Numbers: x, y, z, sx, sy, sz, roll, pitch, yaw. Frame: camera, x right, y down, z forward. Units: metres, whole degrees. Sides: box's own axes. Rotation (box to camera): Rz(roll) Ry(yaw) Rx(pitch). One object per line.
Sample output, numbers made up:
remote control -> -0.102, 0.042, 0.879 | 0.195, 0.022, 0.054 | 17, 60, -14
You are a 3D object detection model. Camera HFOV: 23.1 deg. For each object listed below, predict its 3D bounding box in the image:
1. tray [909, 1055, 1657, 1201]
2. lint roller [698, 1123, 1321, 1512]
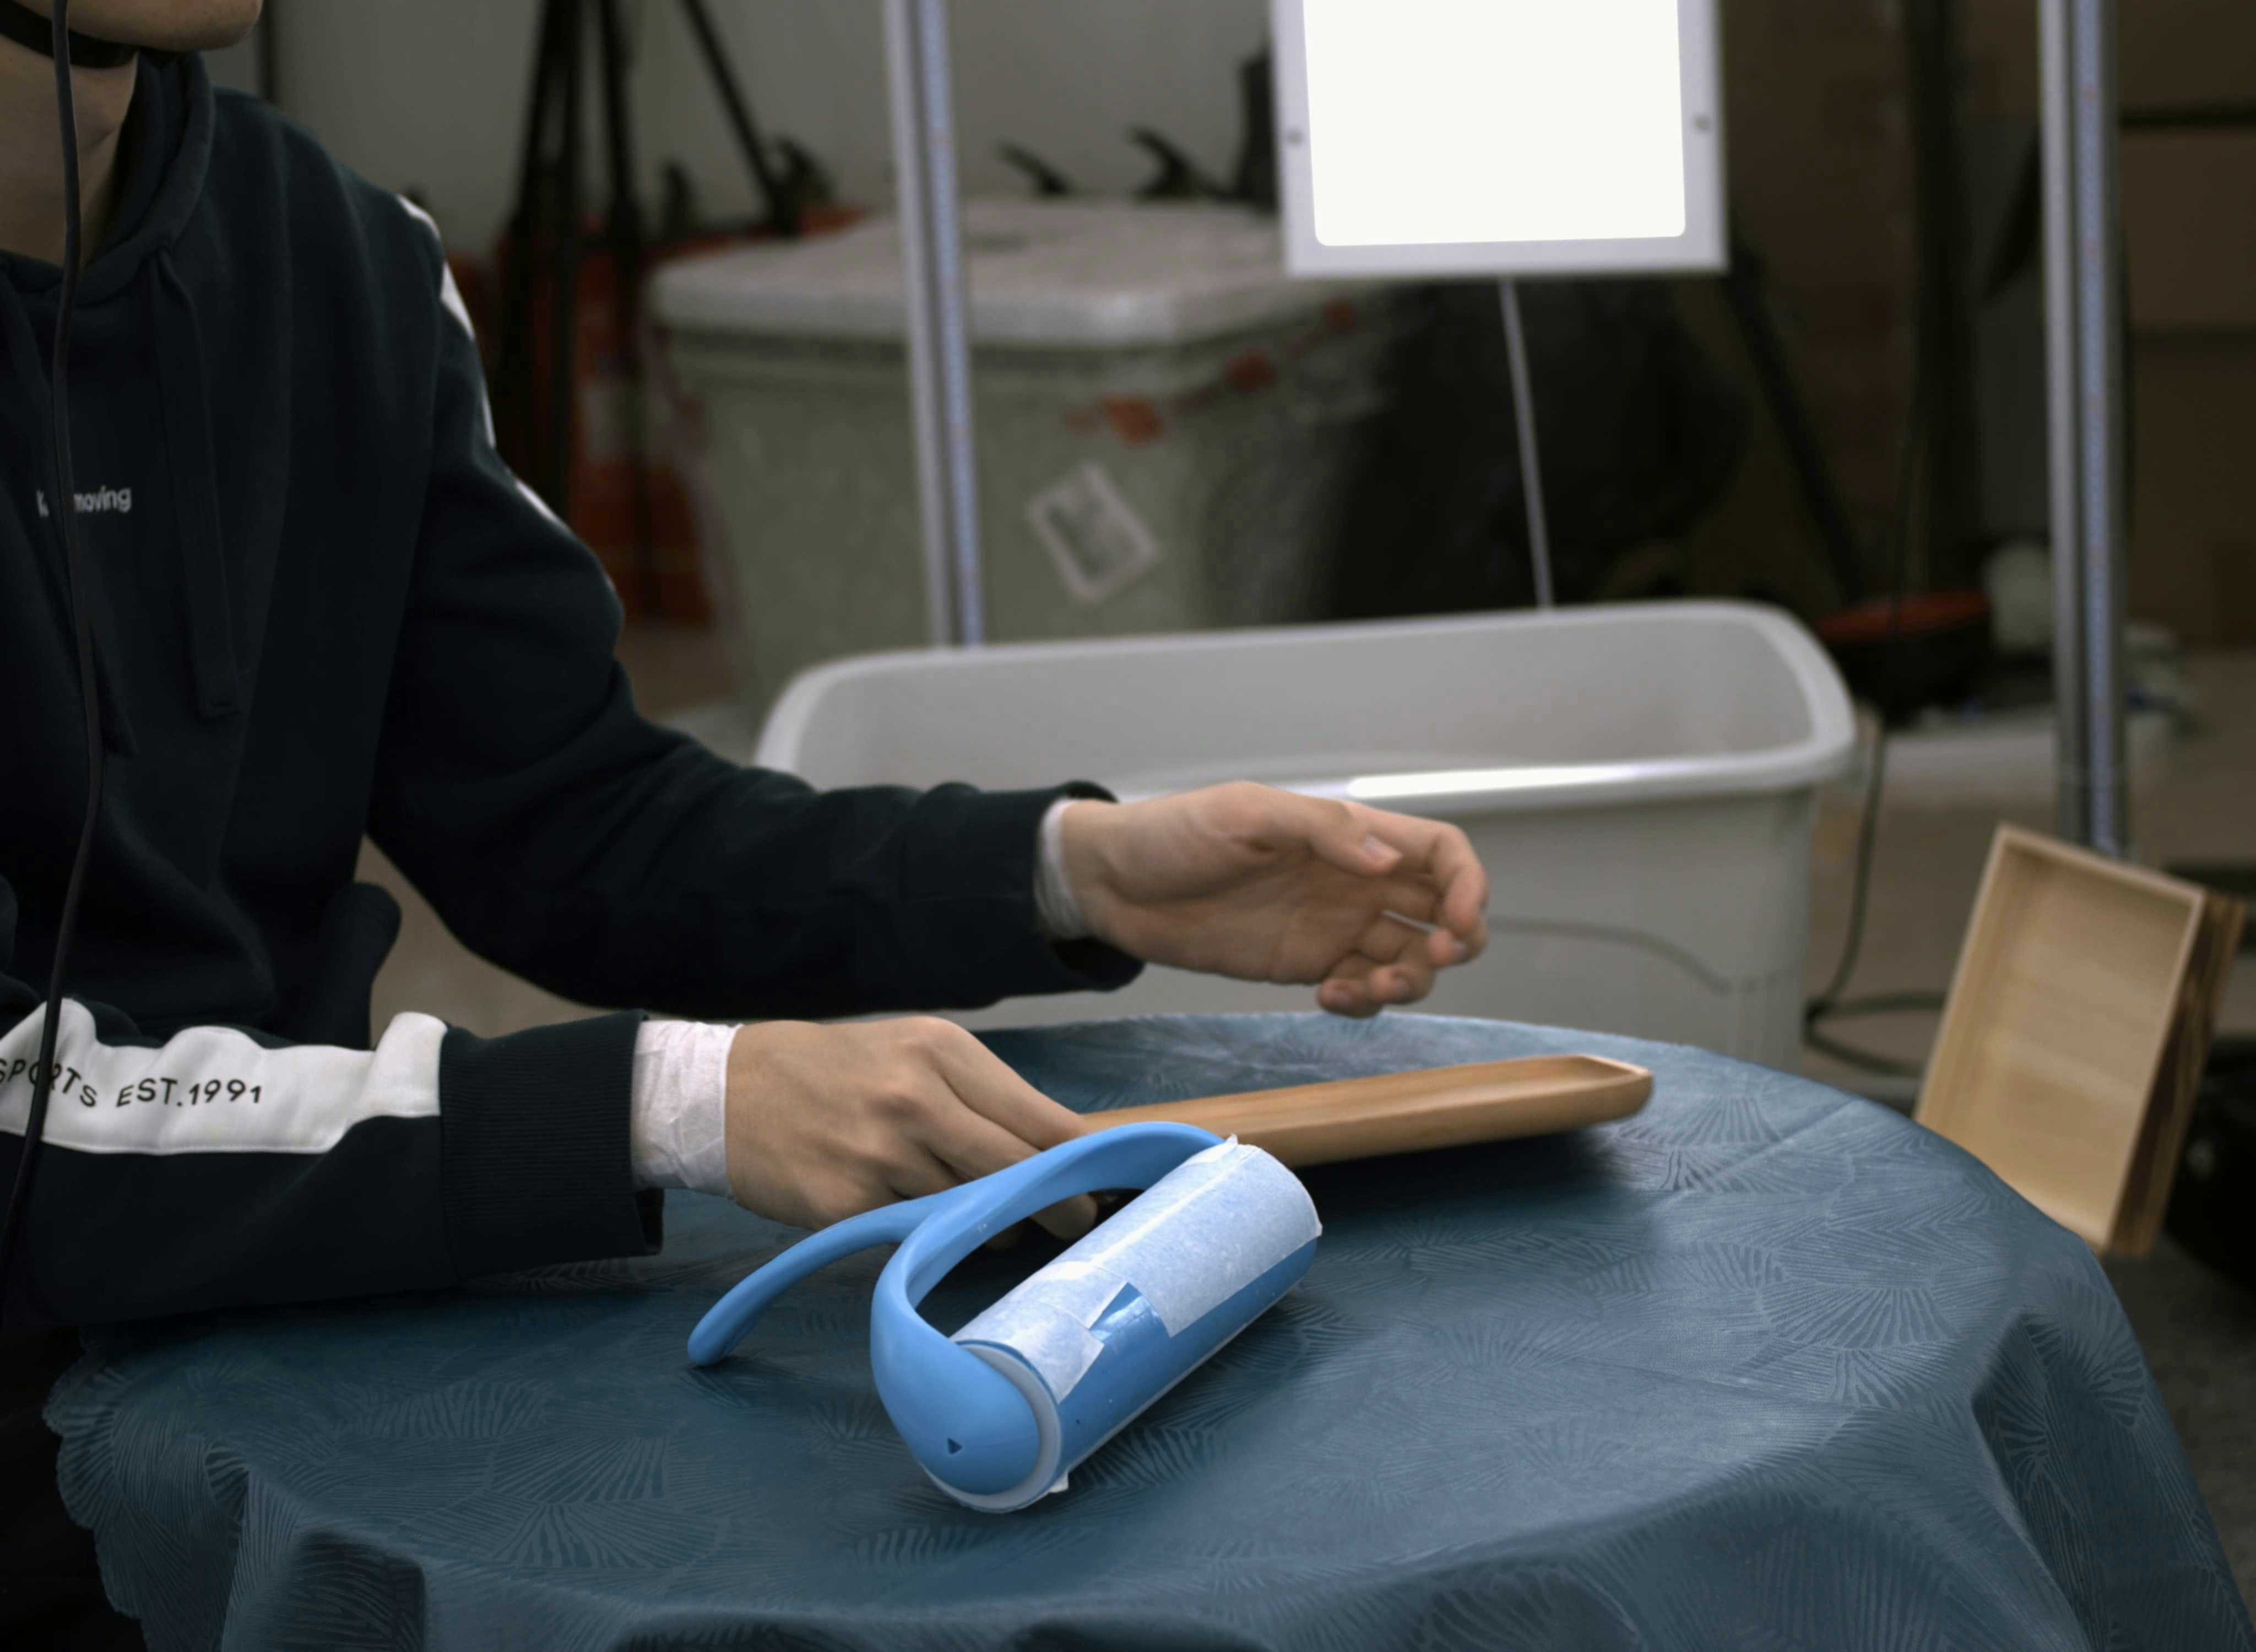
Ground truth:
tray -> 0.053, 0.104, 1.890 | 0.249, 0.023, 0.131 | -7, 1, -6
lint roller -> -0.056, 0.148, 1.709 | 0.183, 0.068, 0.224 | 2, 17, 23
